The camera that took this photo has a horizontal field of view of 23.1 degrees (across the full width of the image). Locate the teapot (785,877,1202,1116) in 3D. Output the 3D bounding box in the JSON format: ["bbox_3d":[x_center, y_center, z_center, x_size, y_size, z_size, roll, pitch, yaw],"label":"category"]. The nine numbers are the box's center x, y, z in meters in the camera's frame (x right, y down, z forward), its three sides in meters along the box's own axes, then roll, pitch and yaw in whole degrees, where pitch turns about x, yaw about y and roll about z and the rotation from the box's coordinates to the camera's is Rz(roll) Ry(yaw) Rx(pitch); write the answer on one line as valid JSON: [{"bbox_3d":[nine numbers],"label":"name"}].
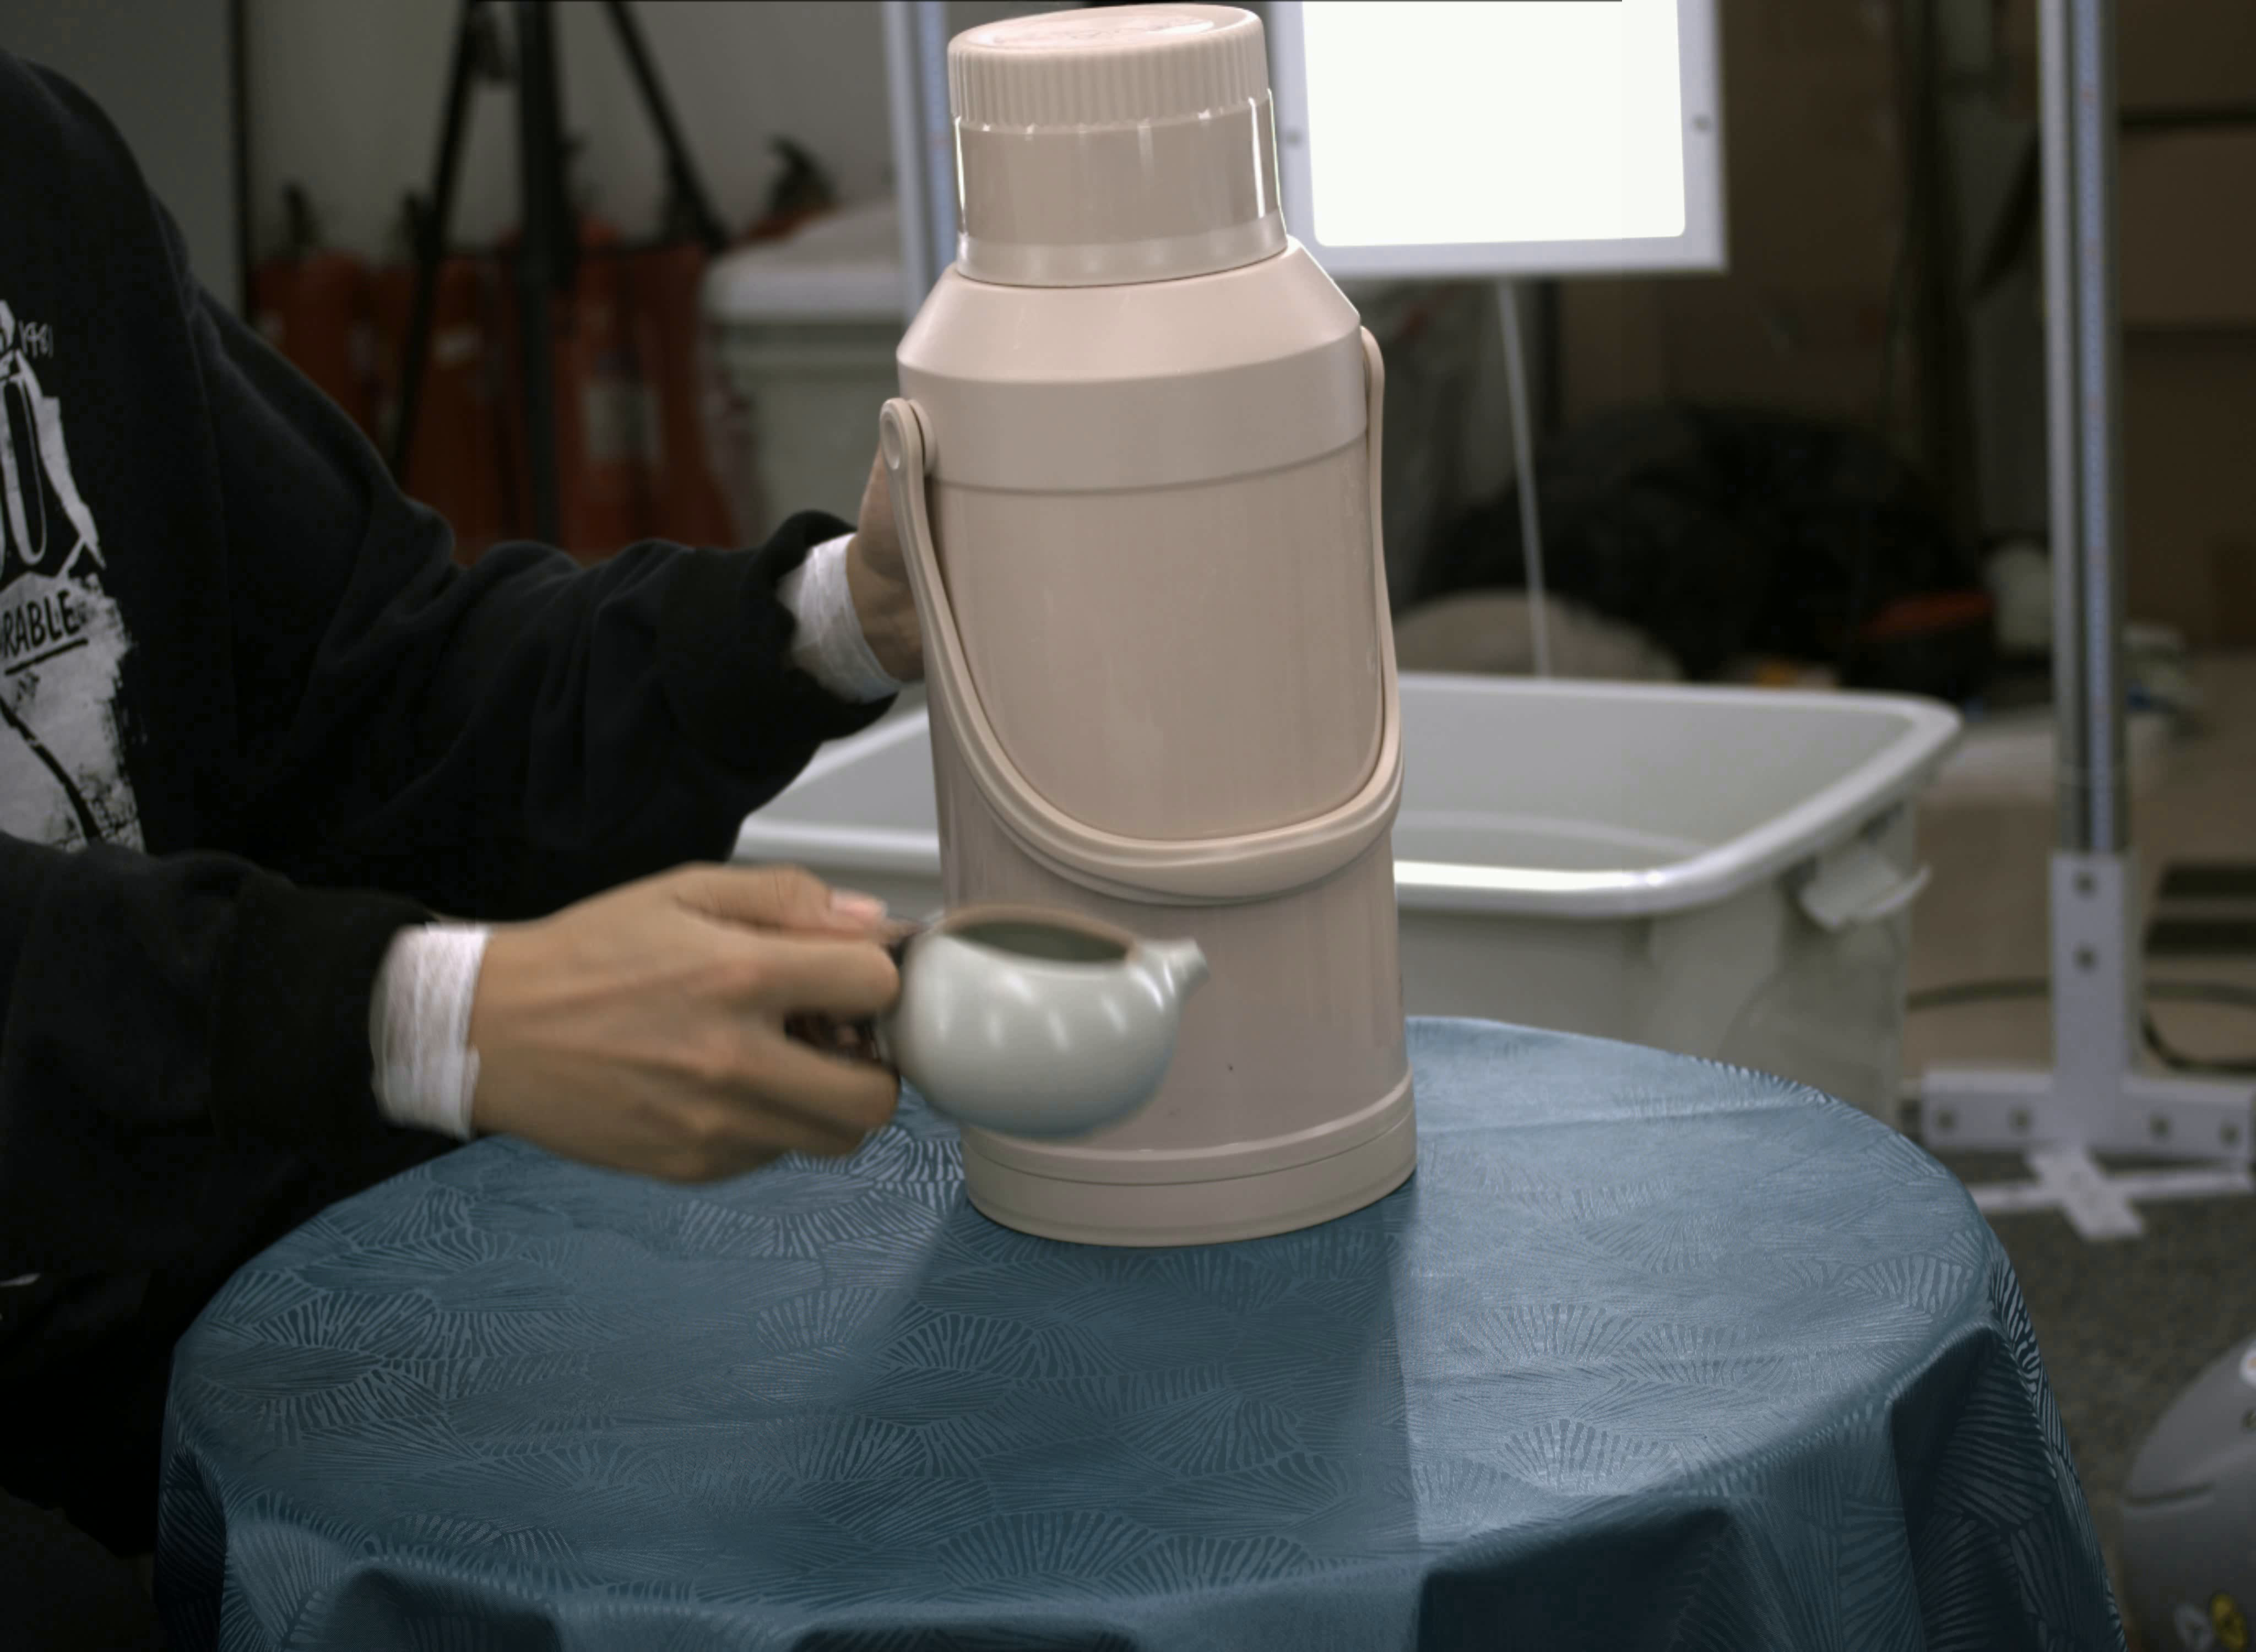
[{"bbox_3d":[-0.041,0.051,1.663,0.126,0.060,0.092,4,18,-17],"label":"teapot"}]

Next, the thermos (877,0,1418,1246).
[{"bbox_3d":[0.002,-0.074,1.872,0.172,0.408,0.210,-12,18,-21],"label":"thermos"}]
